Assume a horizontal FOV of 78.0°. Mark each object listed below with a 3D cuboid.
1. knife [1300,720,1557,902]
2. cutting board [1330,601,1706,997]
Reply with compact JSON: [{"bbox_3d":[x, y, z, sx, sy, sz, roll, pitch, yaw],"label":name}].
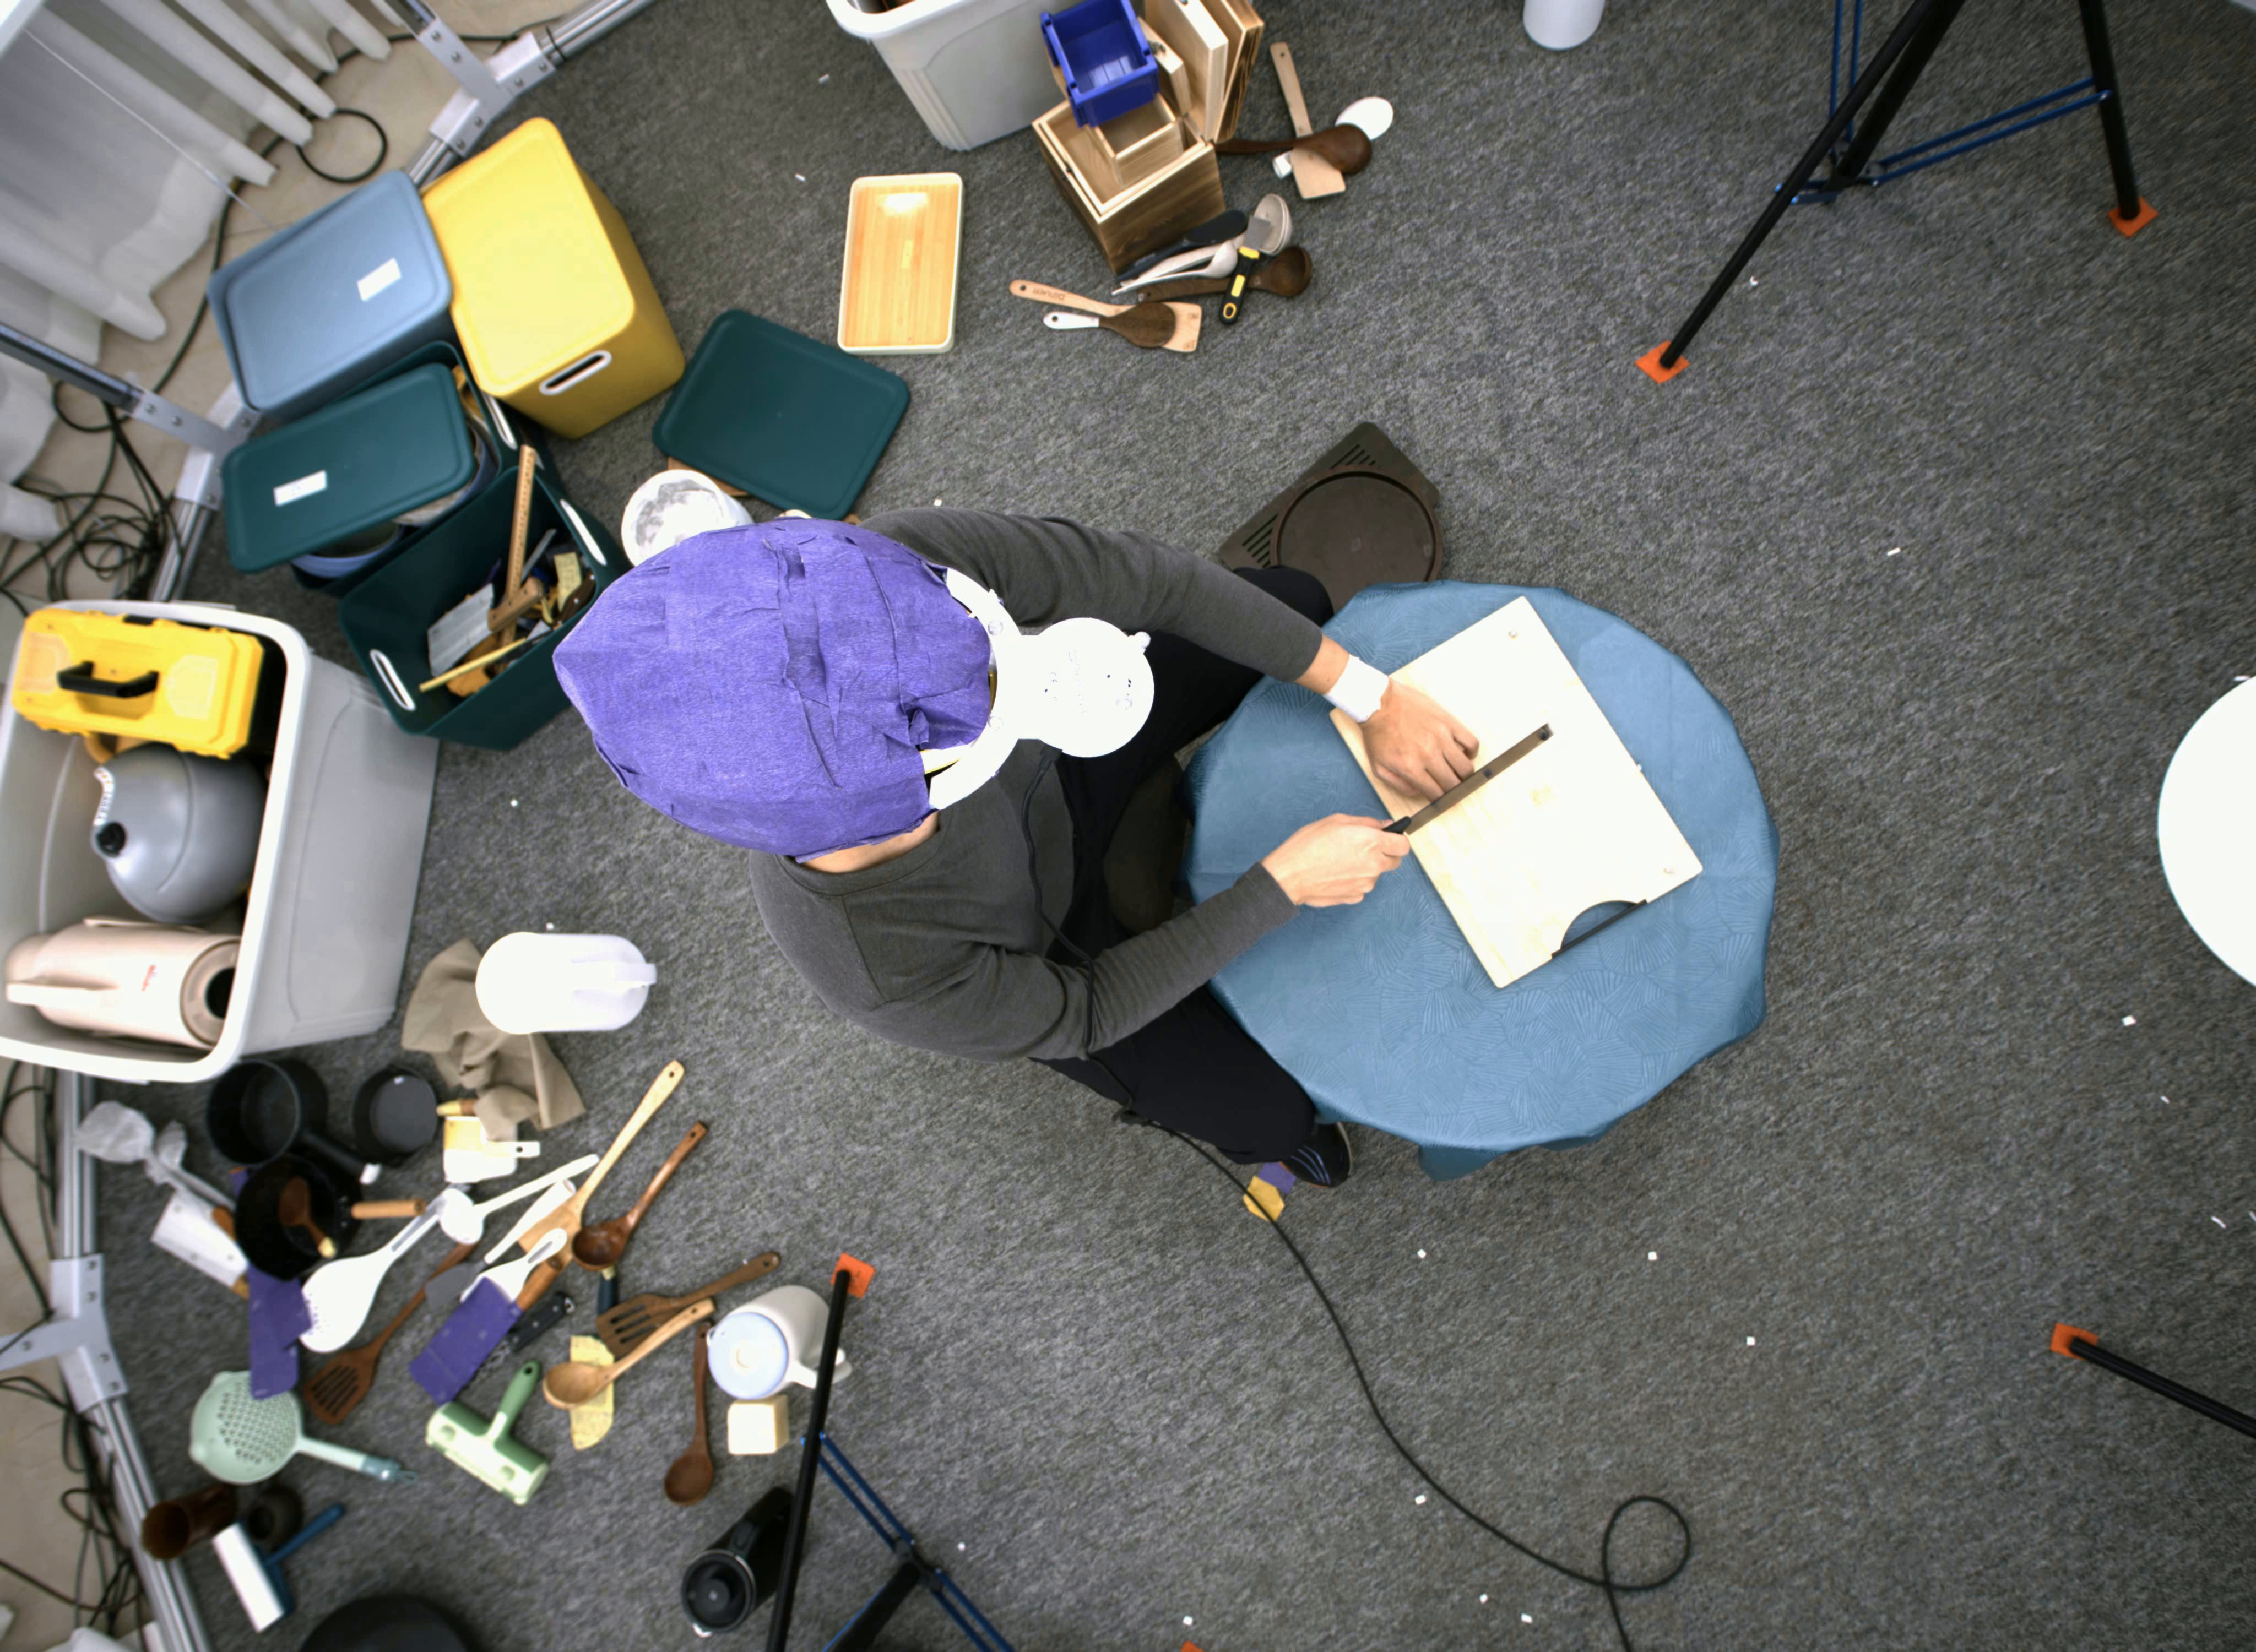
[{"bbox_3d":[0.299,-0.015,1.367,0.304,0.081,0.020,-34,70,7],"label":"knife"},{"bbox_3d":[0.403,-0.035,1.433,0.252,0.023,0.346,-32,81,8],"label":"cutting board"}]
